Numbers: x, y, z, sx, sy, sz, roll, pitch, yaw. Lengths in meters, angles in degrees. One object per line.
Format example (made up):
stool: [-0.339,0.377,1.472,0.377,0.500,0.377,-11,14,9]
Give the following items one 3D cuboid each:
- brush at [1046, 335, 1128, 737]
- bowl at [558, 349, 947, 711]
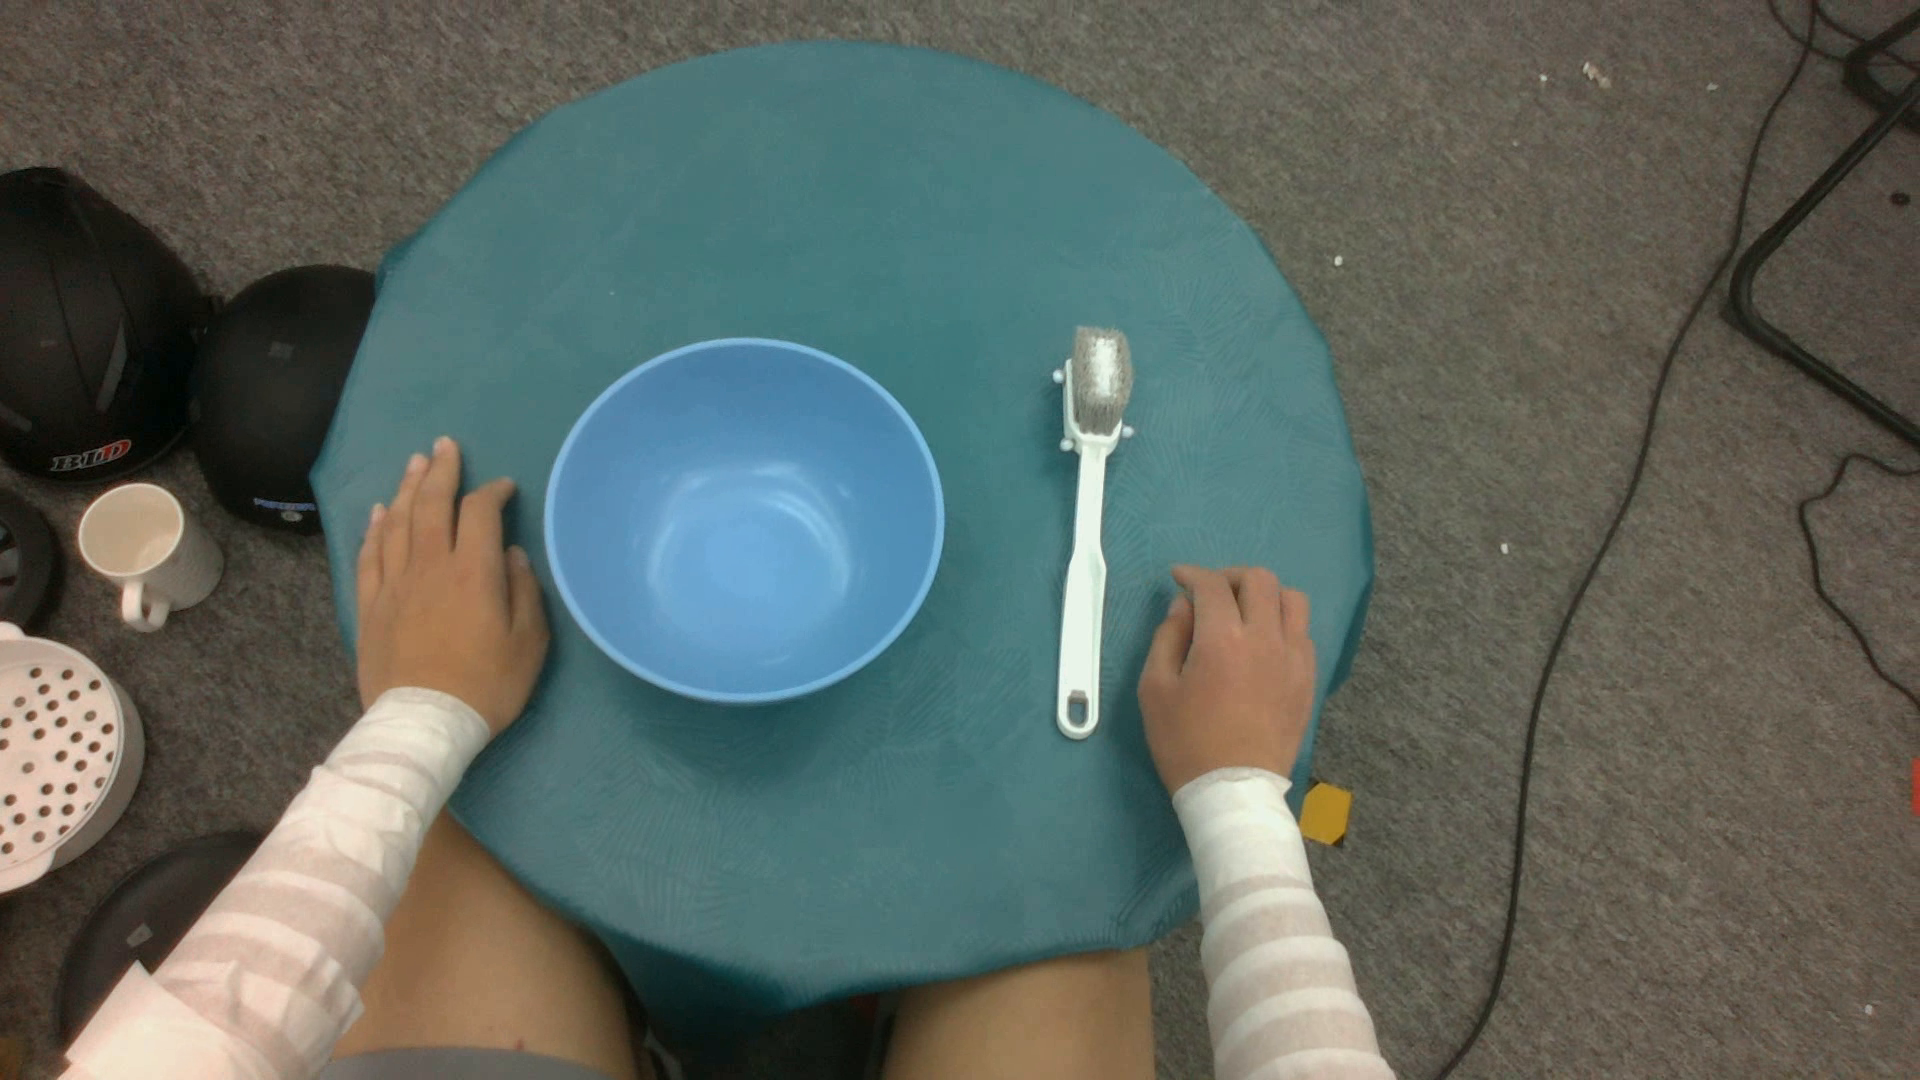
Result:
brush: [0.073,-0.009,0.797,0.034,0.050,0.244,7,67,-3]
bowl: [-0.110,0.006,0.745,0.196,0.095,0.197,3,69,-8]
